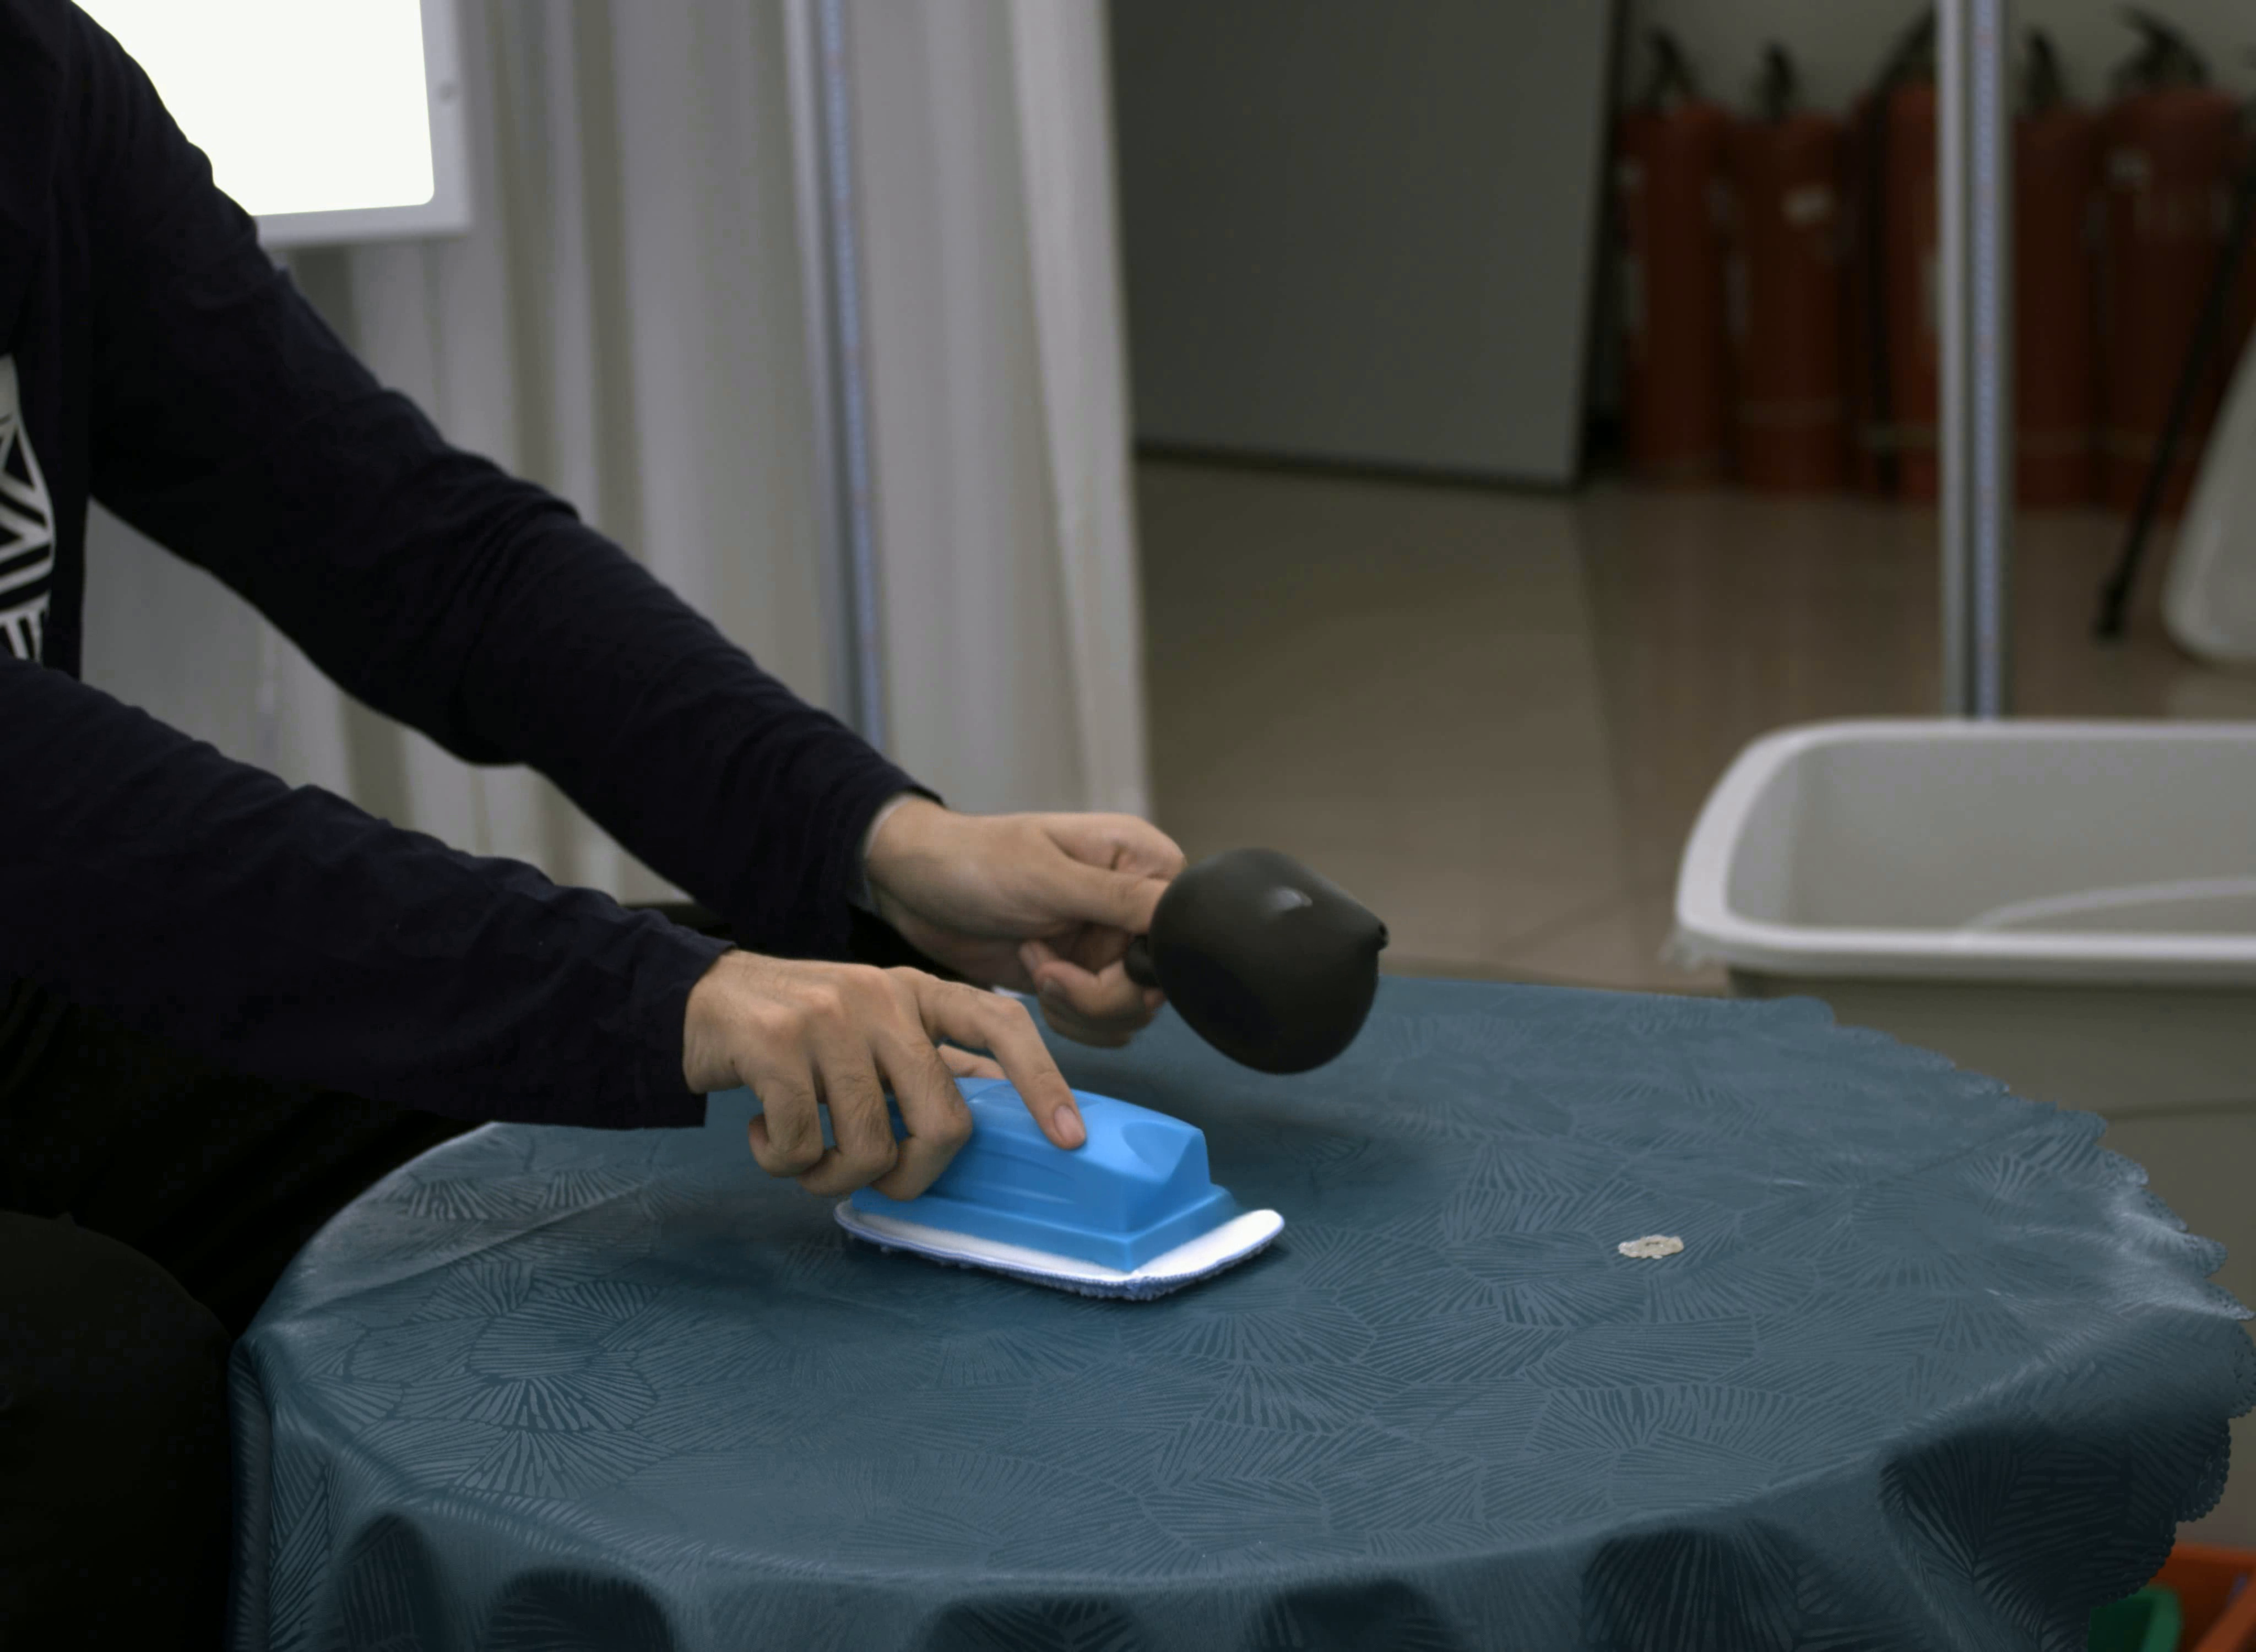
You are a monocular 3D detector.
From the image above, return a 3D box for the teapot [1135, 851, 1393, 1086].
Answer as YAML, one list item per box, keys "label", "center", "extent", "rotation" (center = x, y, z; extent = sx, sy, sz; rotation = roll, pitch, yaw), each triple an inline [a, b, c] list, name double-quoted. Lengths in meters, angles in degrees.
- label: "teapot"
  center: [0.042, 0.046, 1.820]
  extent: [0.052, 0.083, 0.115]
  rotation: [-42, 22, -24]

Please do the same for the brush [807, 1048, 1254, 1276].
- label: "brush"
  center: [-0.031, 0.105, 1.720]
  extent: [0.145, 0.056, 0.082]
  rotation: [13, 19, 42]
